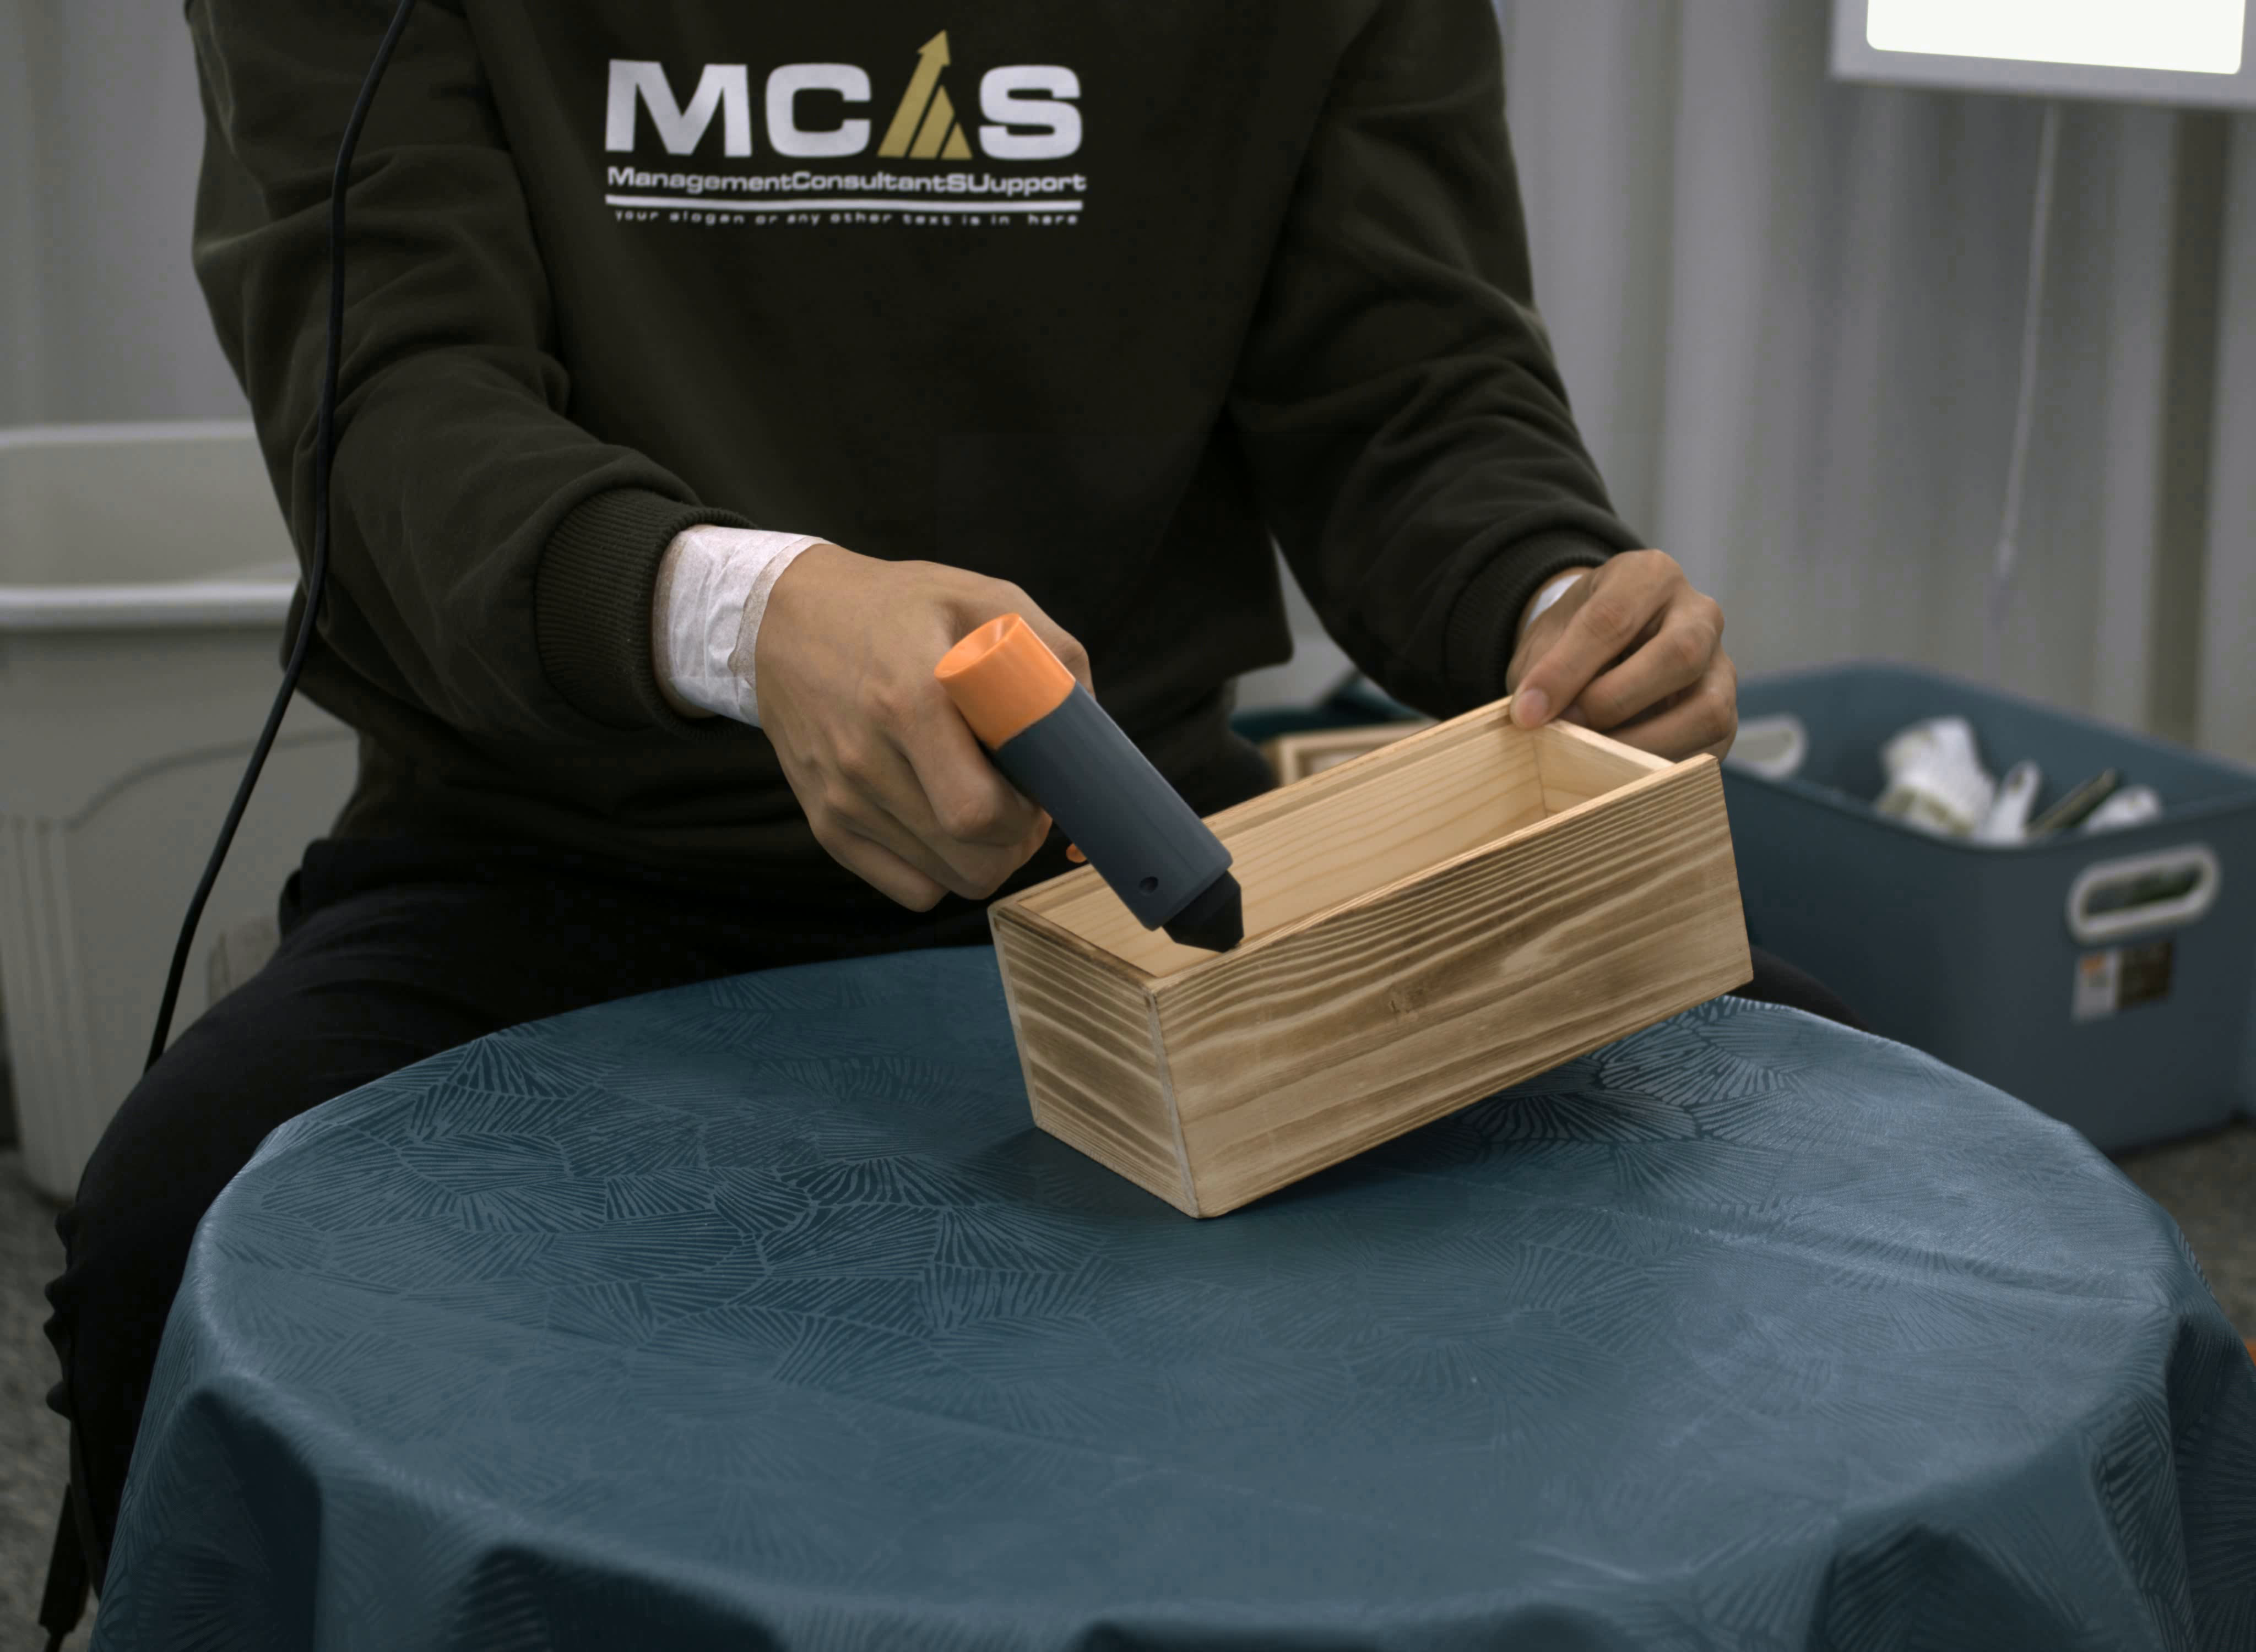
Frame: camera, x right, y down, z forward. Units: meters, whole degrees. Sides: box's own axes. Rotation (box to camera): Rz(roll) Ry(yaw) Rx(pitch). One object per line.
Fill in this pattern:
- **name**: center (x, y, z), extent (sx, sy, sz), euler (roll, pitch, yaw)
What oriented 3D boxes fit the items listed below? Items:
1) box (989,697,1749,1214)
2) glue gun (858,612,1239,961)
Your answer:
- **box**: center (0.078, 0.038, 1.674), extent (0.212, 0.081, 0.106), euler (-22, 23, -25)
- **glue gun**: center (-0.025, -0.010, 1.628), extent (0.041, 0.119, 0.138), euler (-39, 19, -19)
